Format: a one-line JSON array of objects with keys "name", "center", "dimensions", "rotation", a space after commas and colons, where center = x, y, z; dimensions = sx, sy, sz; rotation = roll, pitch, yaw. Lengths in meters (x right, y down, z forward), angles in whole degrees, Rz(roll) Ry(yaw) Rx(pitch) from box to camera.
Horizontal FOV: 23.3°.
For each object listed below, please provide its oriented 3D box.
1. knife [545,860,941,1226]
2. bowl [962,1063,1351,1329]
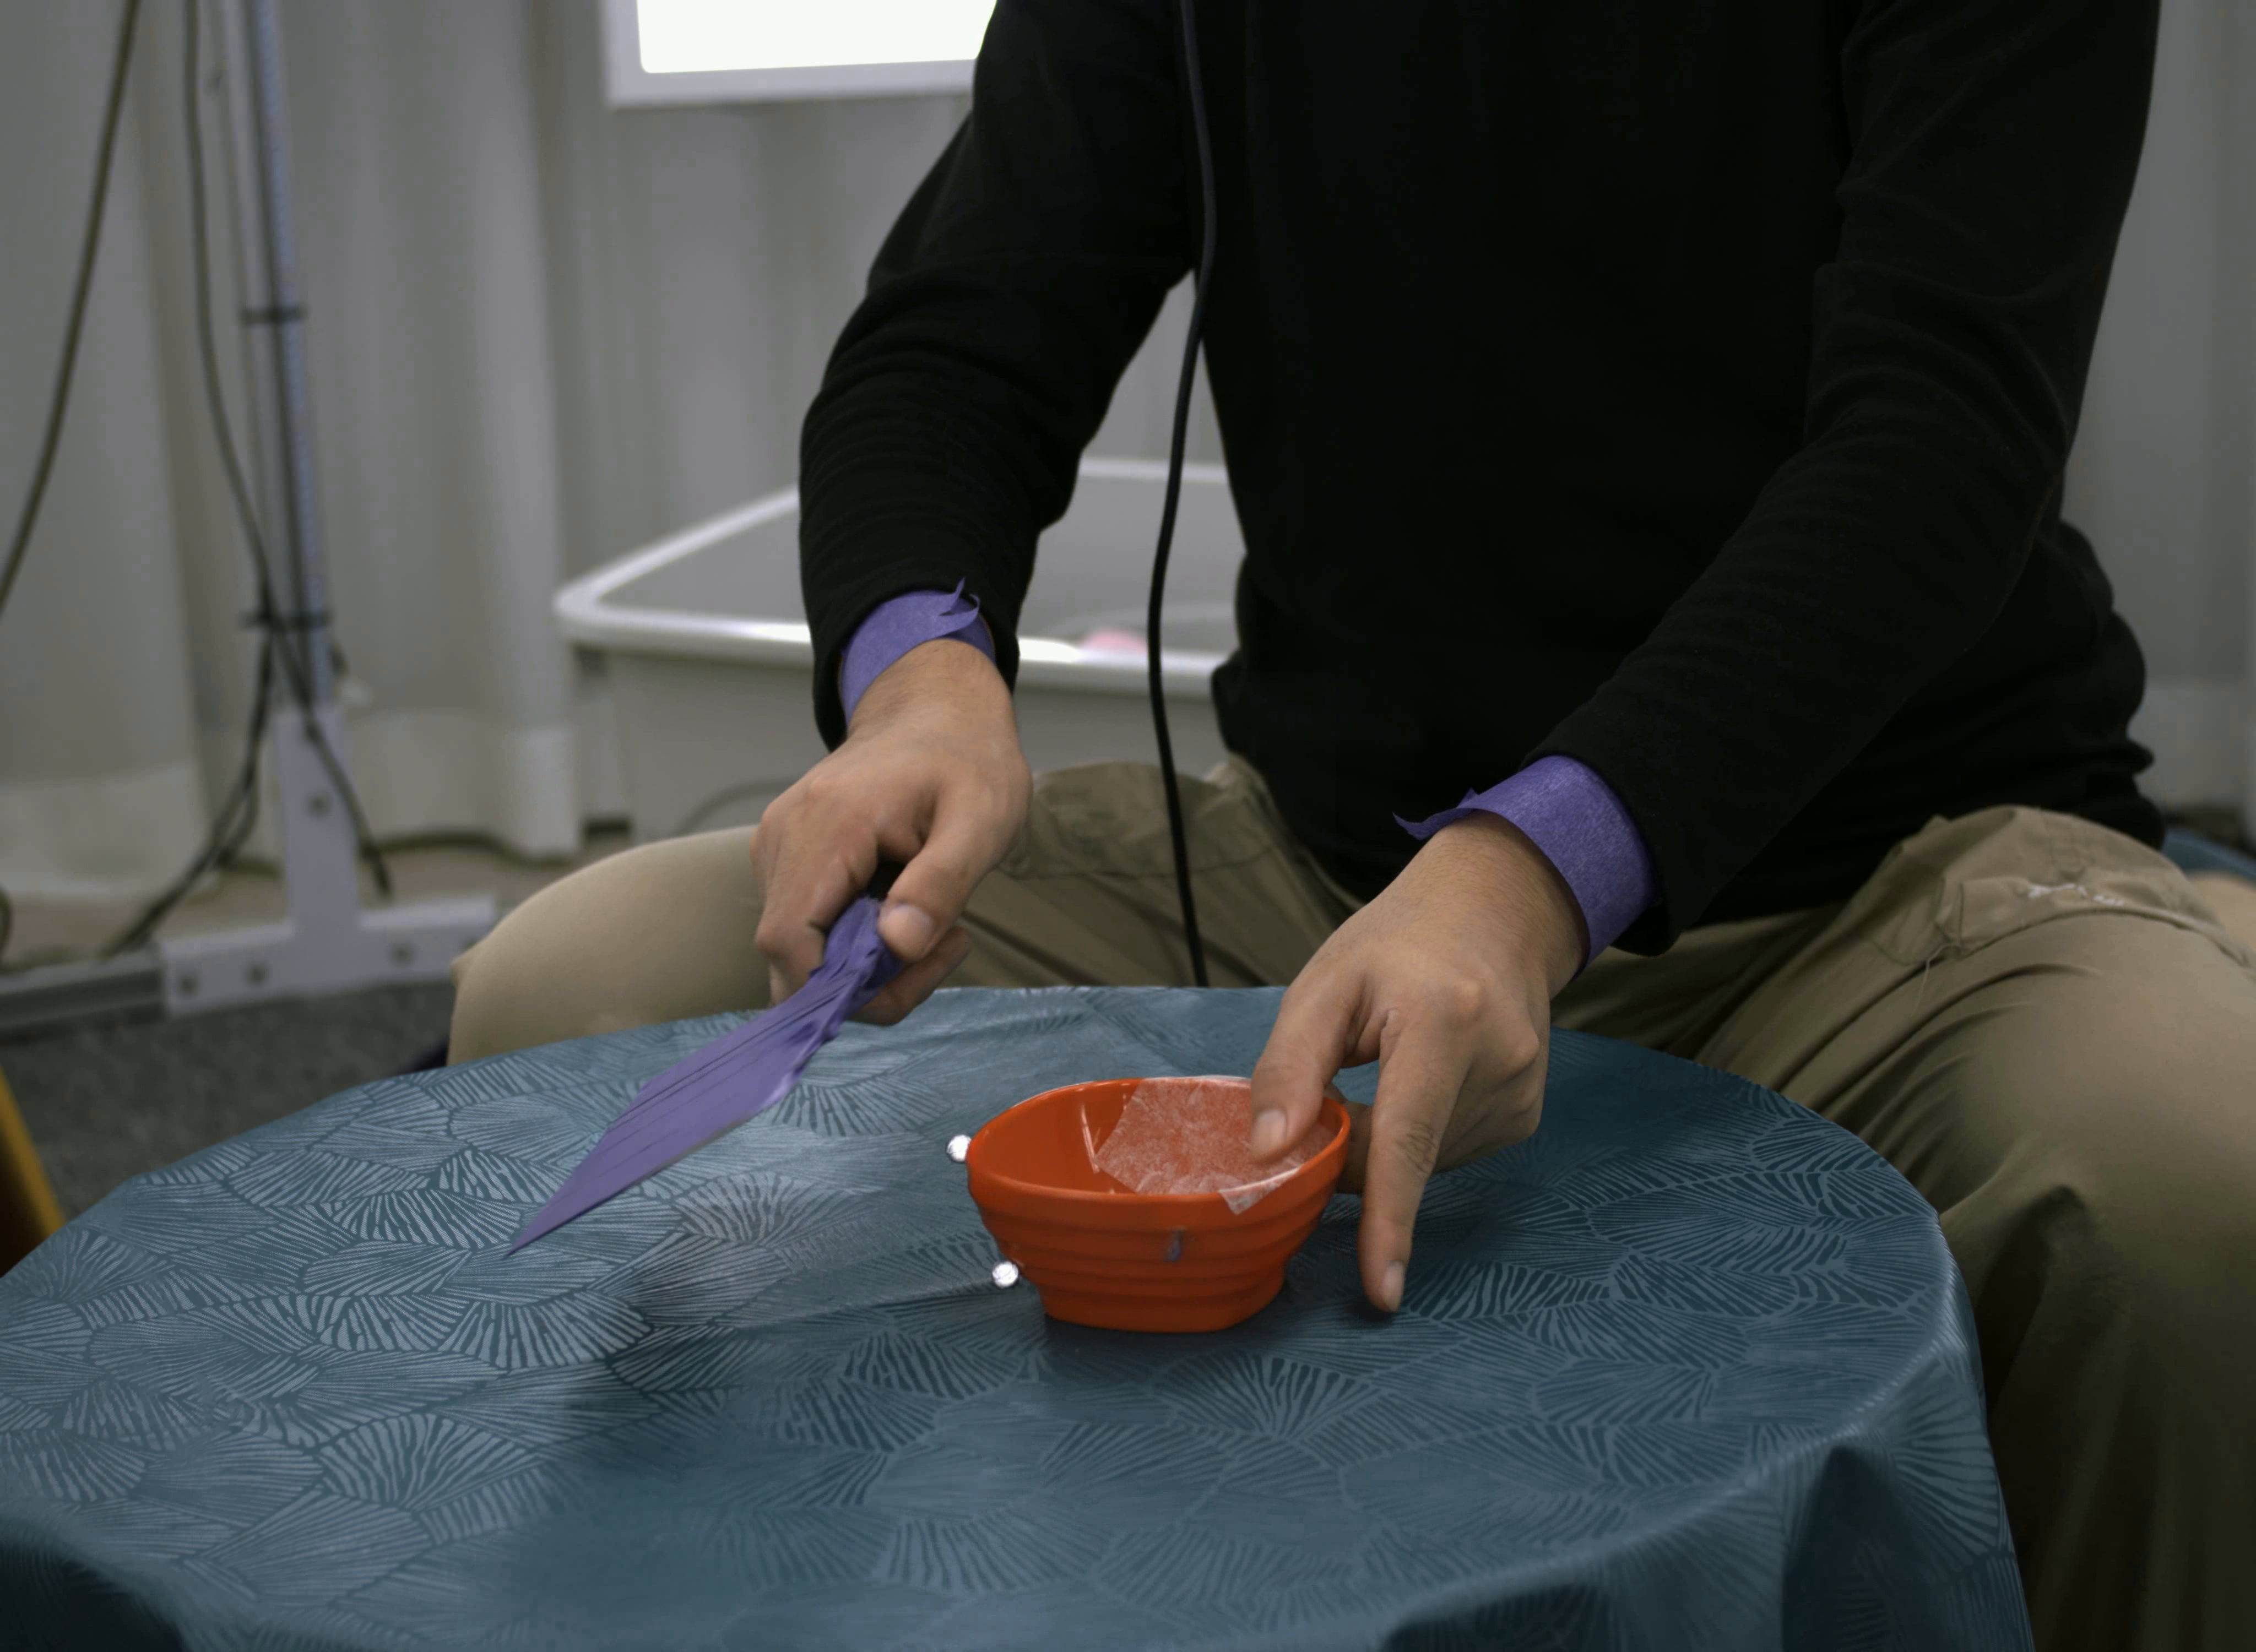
[{"name": "knife", "center": [-0.118, 0.063, 1.670], "dimensions": [0.103, 0.032, 0.316], "rotation": [-29, 4, 10]}, {"name": "bowl", "center": [0.010, 0.112, 1.613], "dimensions": [0.118, 0.051, 0.120], "rotation": [-3, 17, 1]}]
